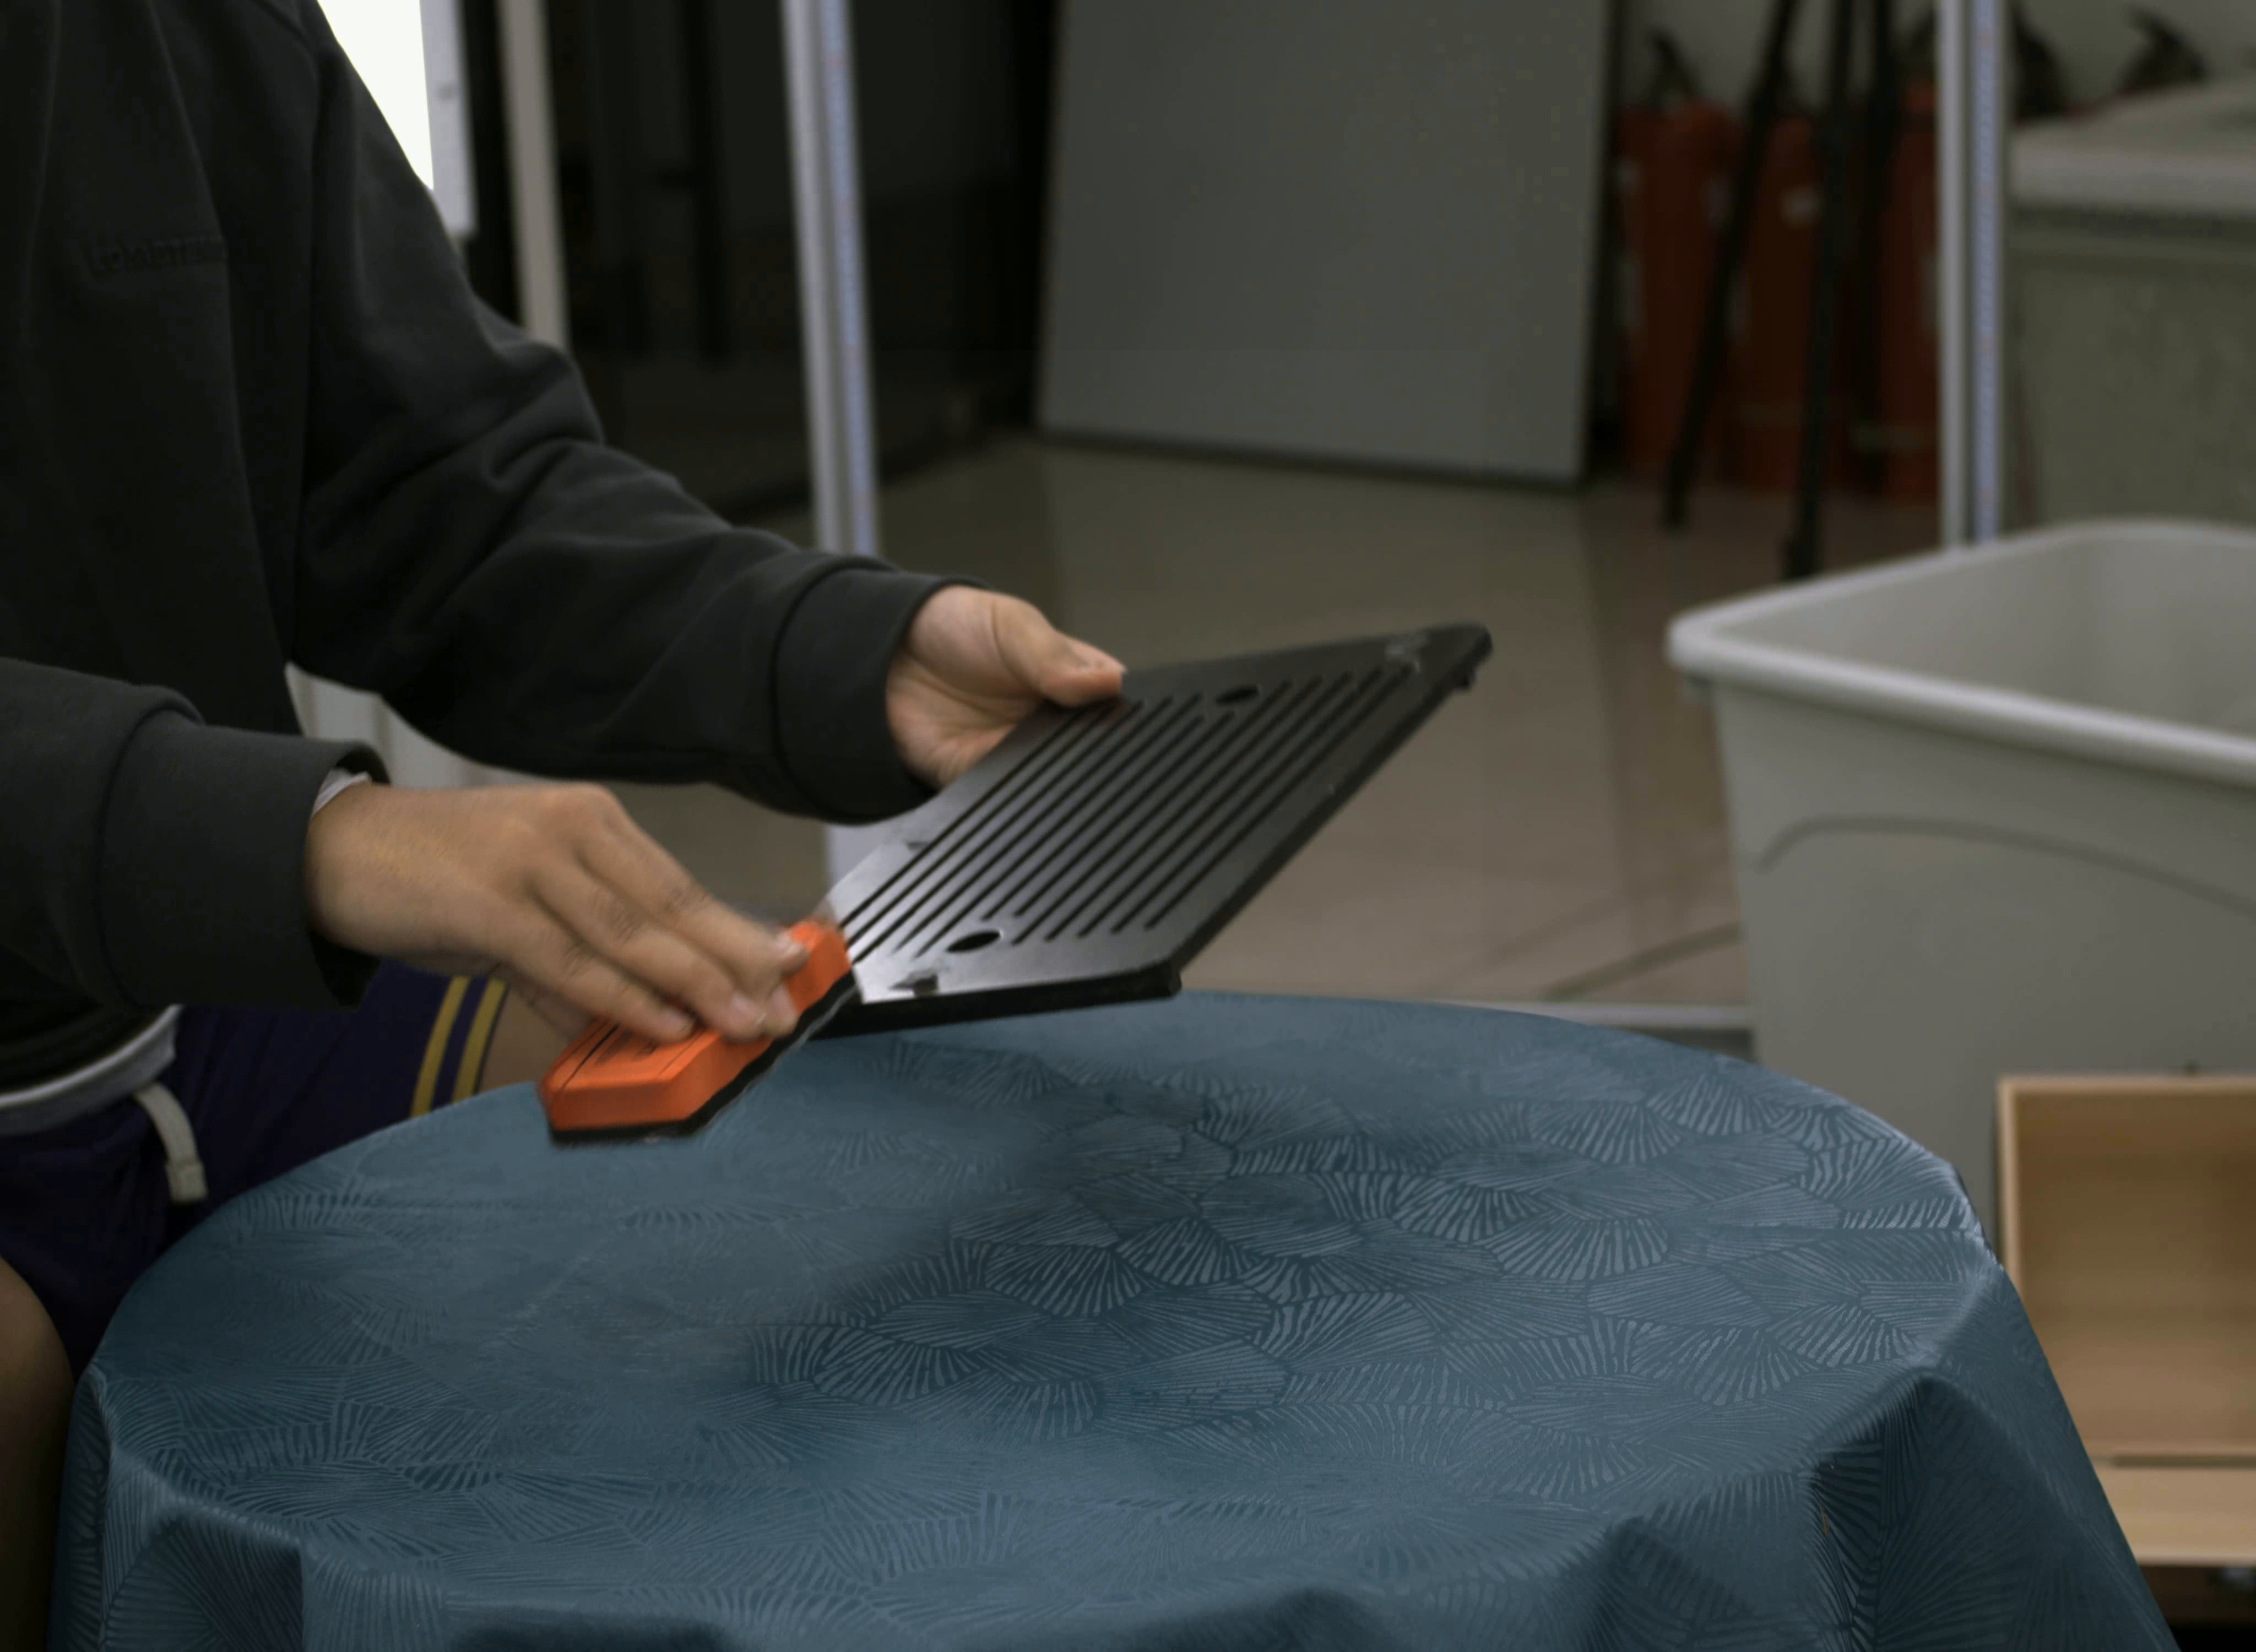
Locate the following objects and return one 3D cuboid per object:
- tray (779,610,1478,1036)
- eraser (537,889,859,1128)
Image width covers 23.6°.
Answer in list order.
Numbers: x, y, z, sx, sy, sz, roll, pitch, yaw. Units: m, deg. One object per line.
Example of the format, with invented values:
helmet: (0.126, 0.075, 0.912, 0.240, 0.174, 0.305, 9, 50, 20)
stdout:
tray: (-0.008, -0.001, 1.747, 0.170, 0.019, 0.303, -9, 18, 28)
eraser: (-0.127, 0.054, 1.616, 0.059, 0.023, 0.107, -8, 23, 31)
